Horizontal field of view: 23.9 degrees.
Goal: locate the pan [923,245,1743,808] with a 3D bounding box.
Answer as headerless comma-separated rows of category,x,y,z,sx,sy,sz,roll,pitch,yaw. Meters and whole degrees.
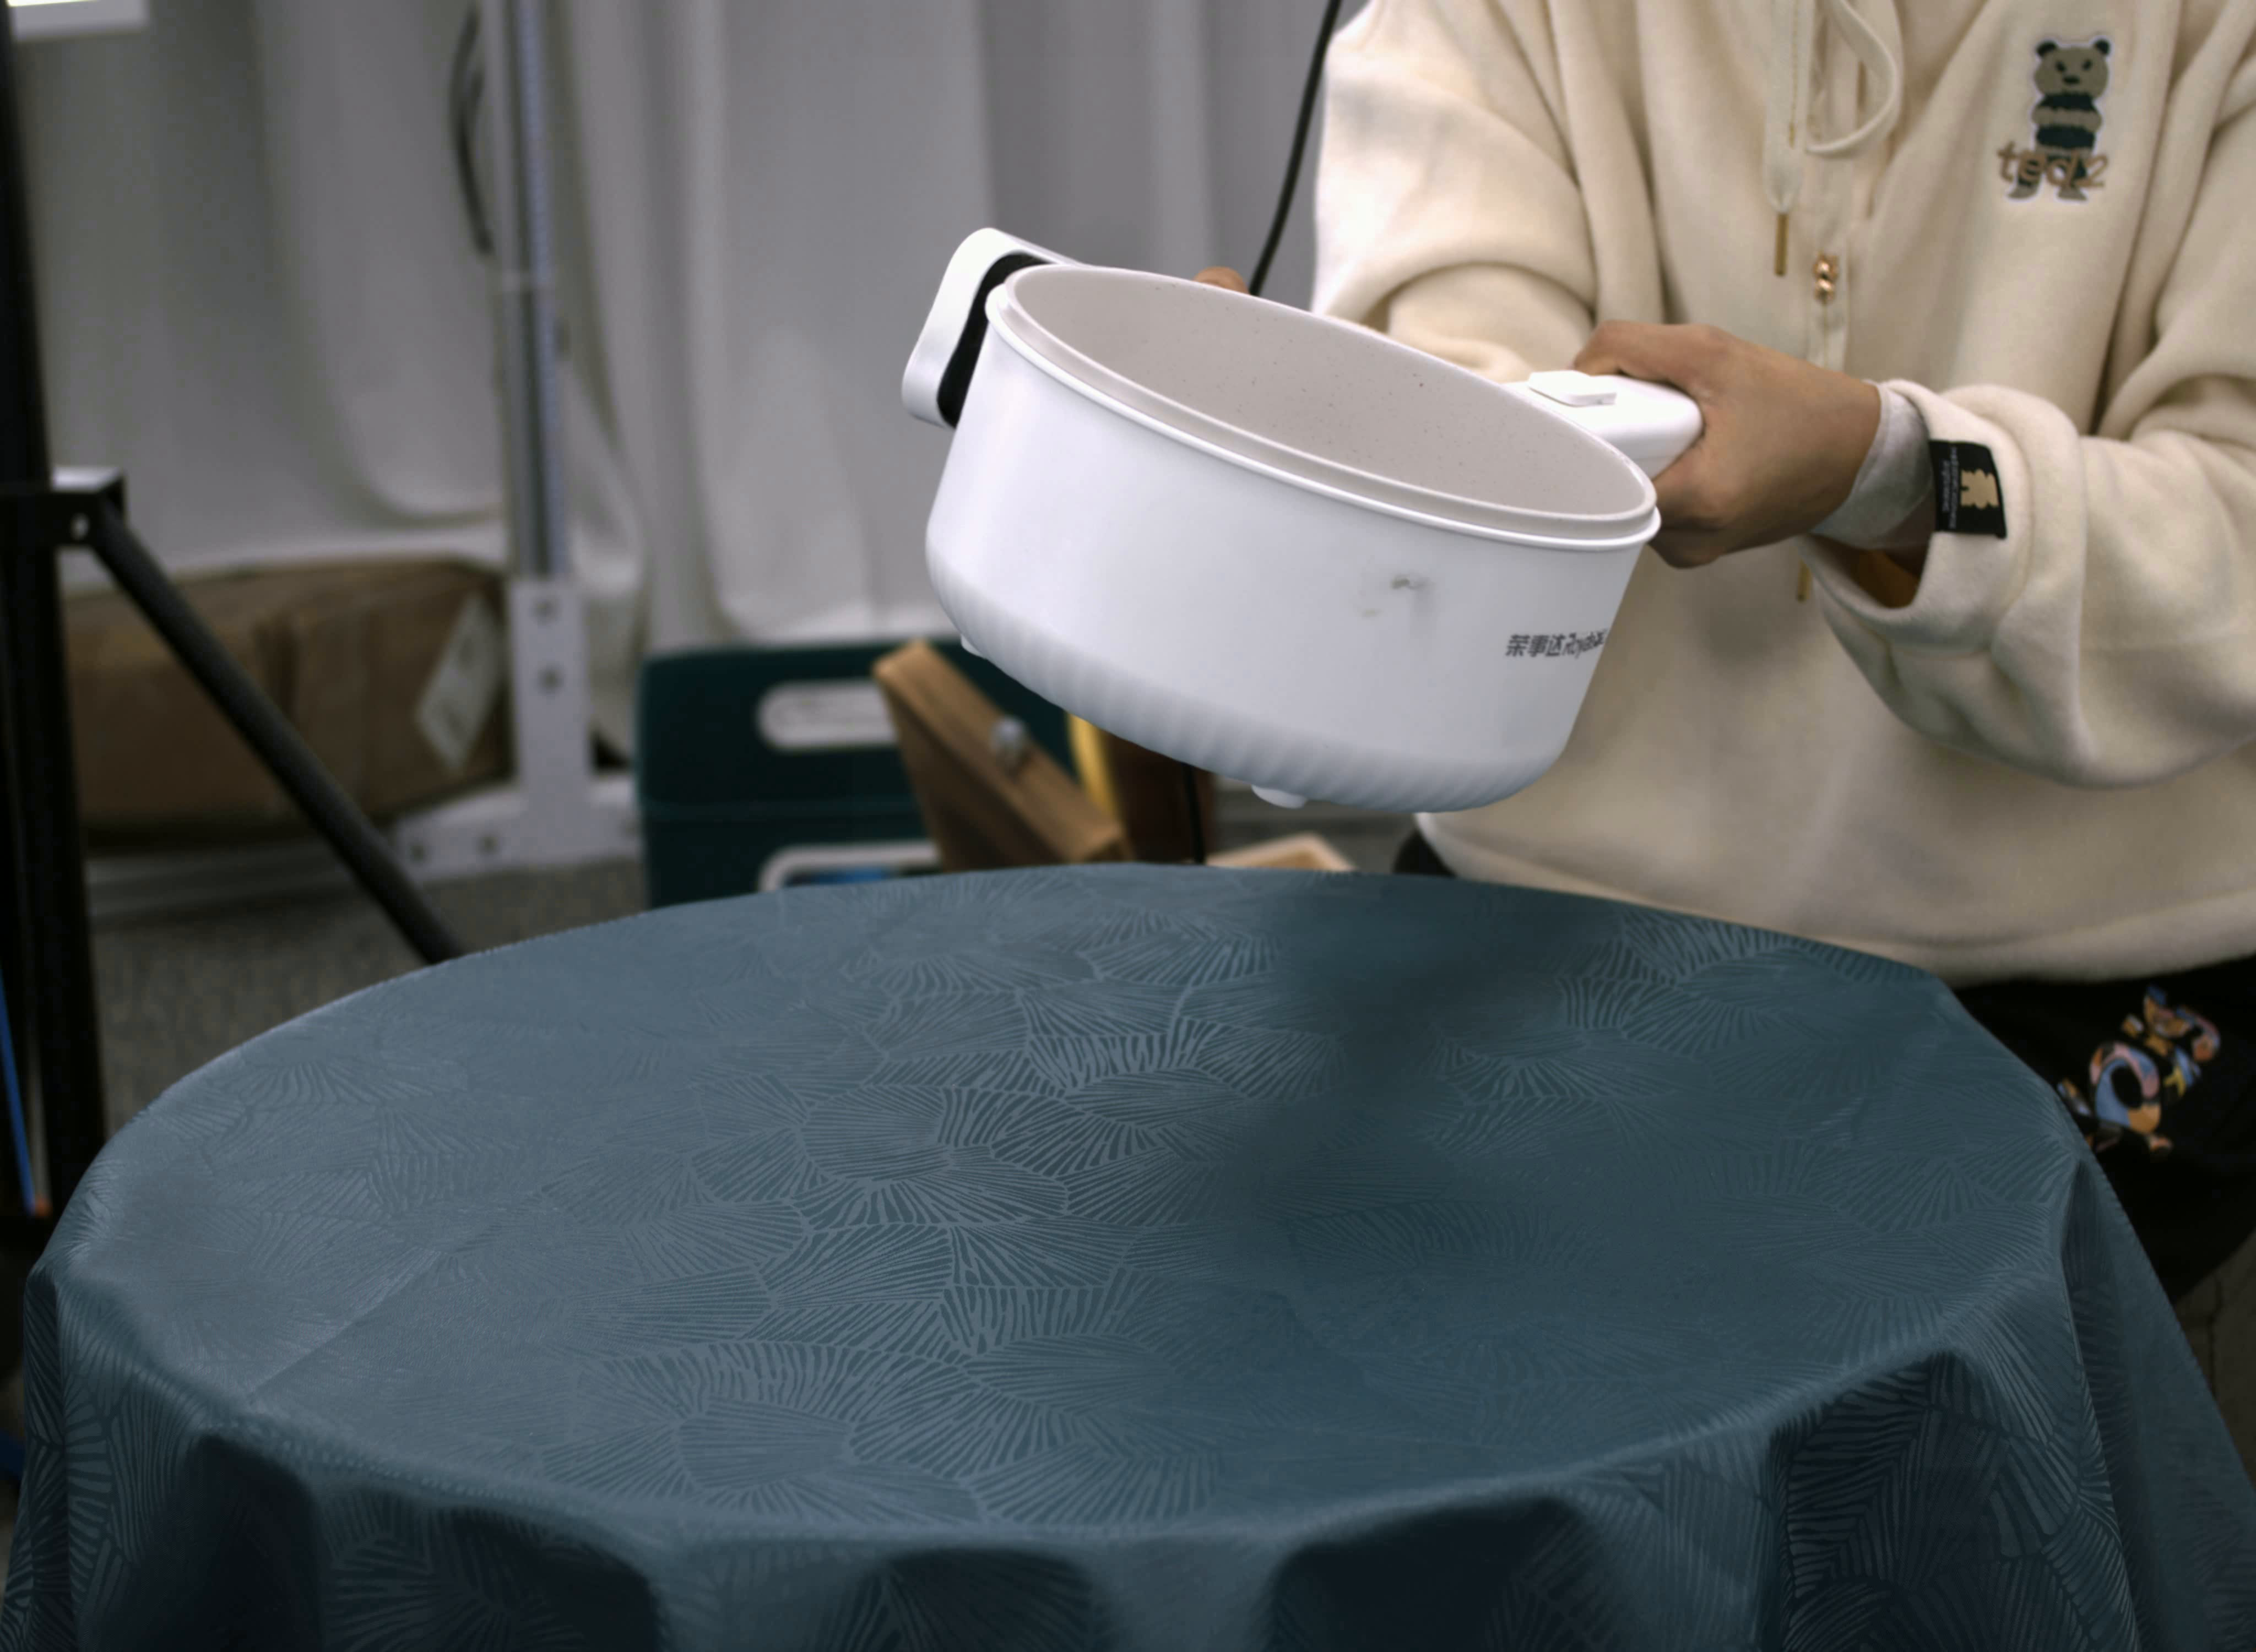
pan,0.079,-0.085,1.577,0.205,0.102,0.347,28,16,27

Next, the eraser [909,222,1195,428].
eraser,-0.010,-0.138,1.604,0.035,0.063,0.128,32,10,40
